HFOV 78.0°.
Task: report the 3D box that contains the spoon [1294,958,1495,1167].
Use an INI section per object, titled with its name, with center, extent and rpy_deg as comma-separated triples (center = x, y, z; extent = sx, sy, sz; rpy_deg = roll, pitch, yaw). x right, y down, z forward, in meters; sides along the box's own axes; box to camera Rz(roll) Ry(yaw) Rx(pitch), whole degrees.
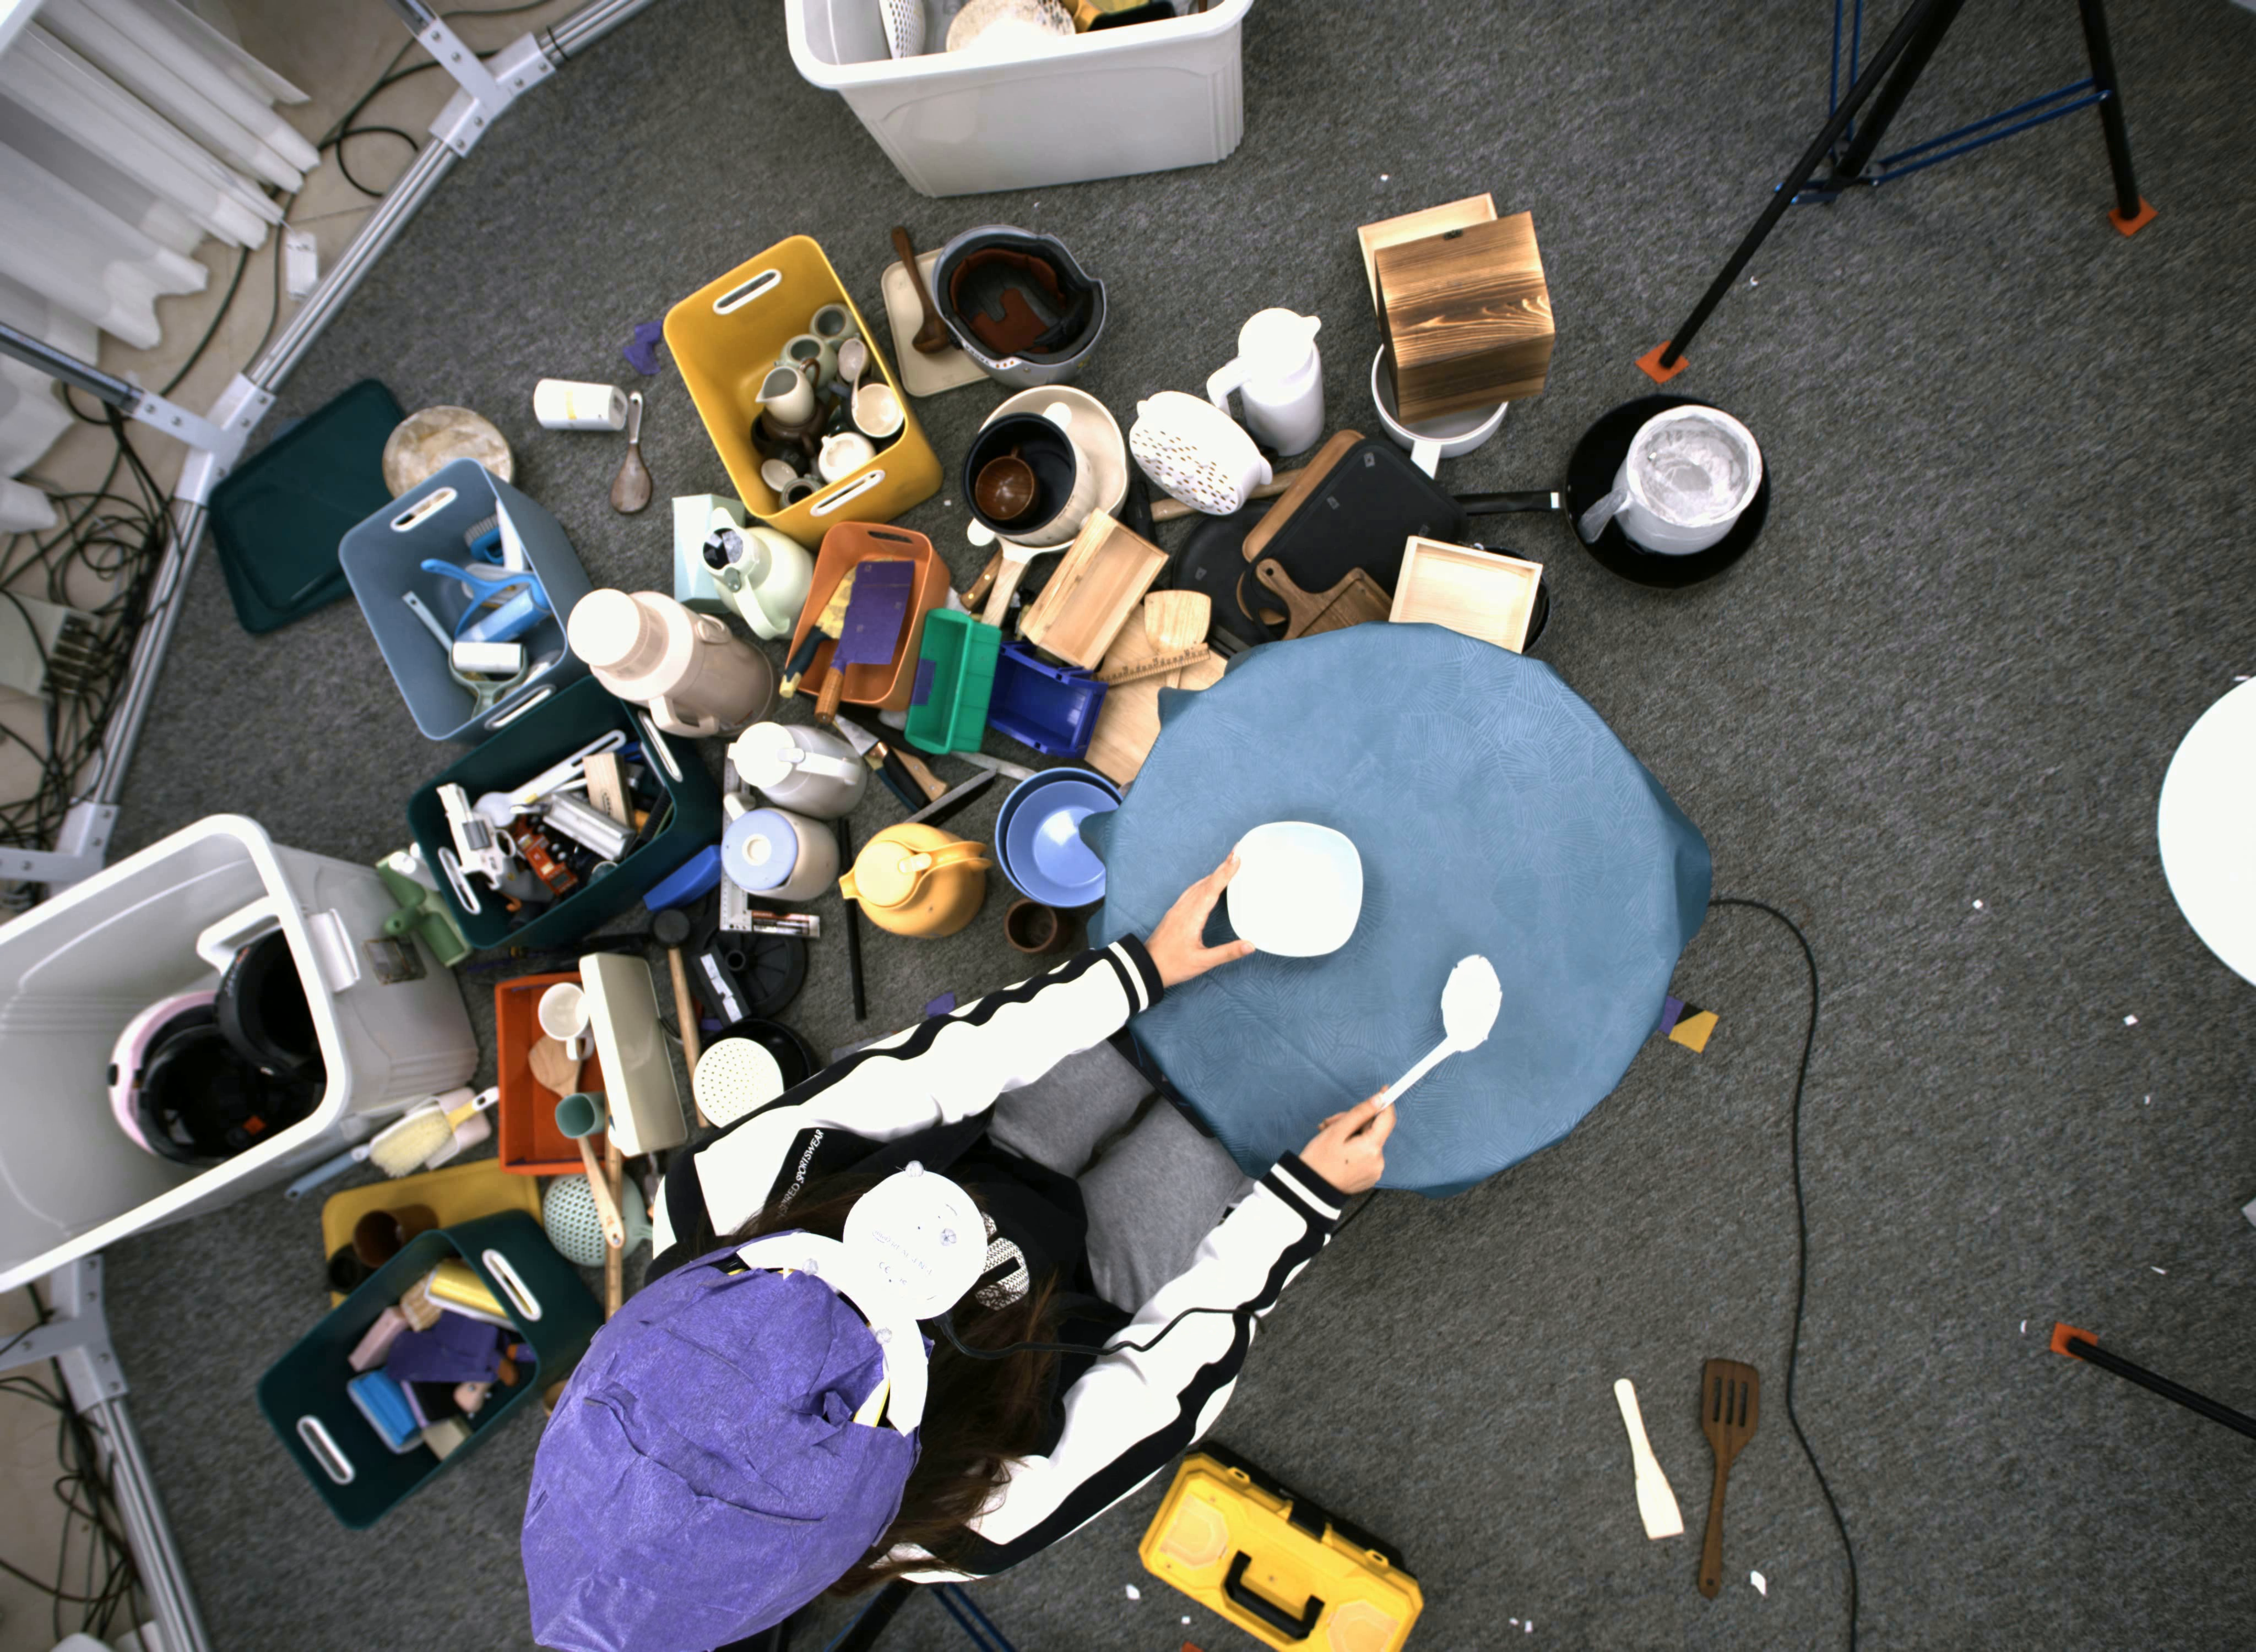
[spoon]
center = 0.258, 0.236, 1.377
extent = 0.280, 0.099, 0.060
rpy_deg = -40, 111, 12

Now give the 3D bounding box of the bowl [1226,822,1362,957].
[bowl]
center = 0.175, 0.068, 1.451
extent = 0.152, 0.058, 0.151
rpy_deg = -1, 86, 11
